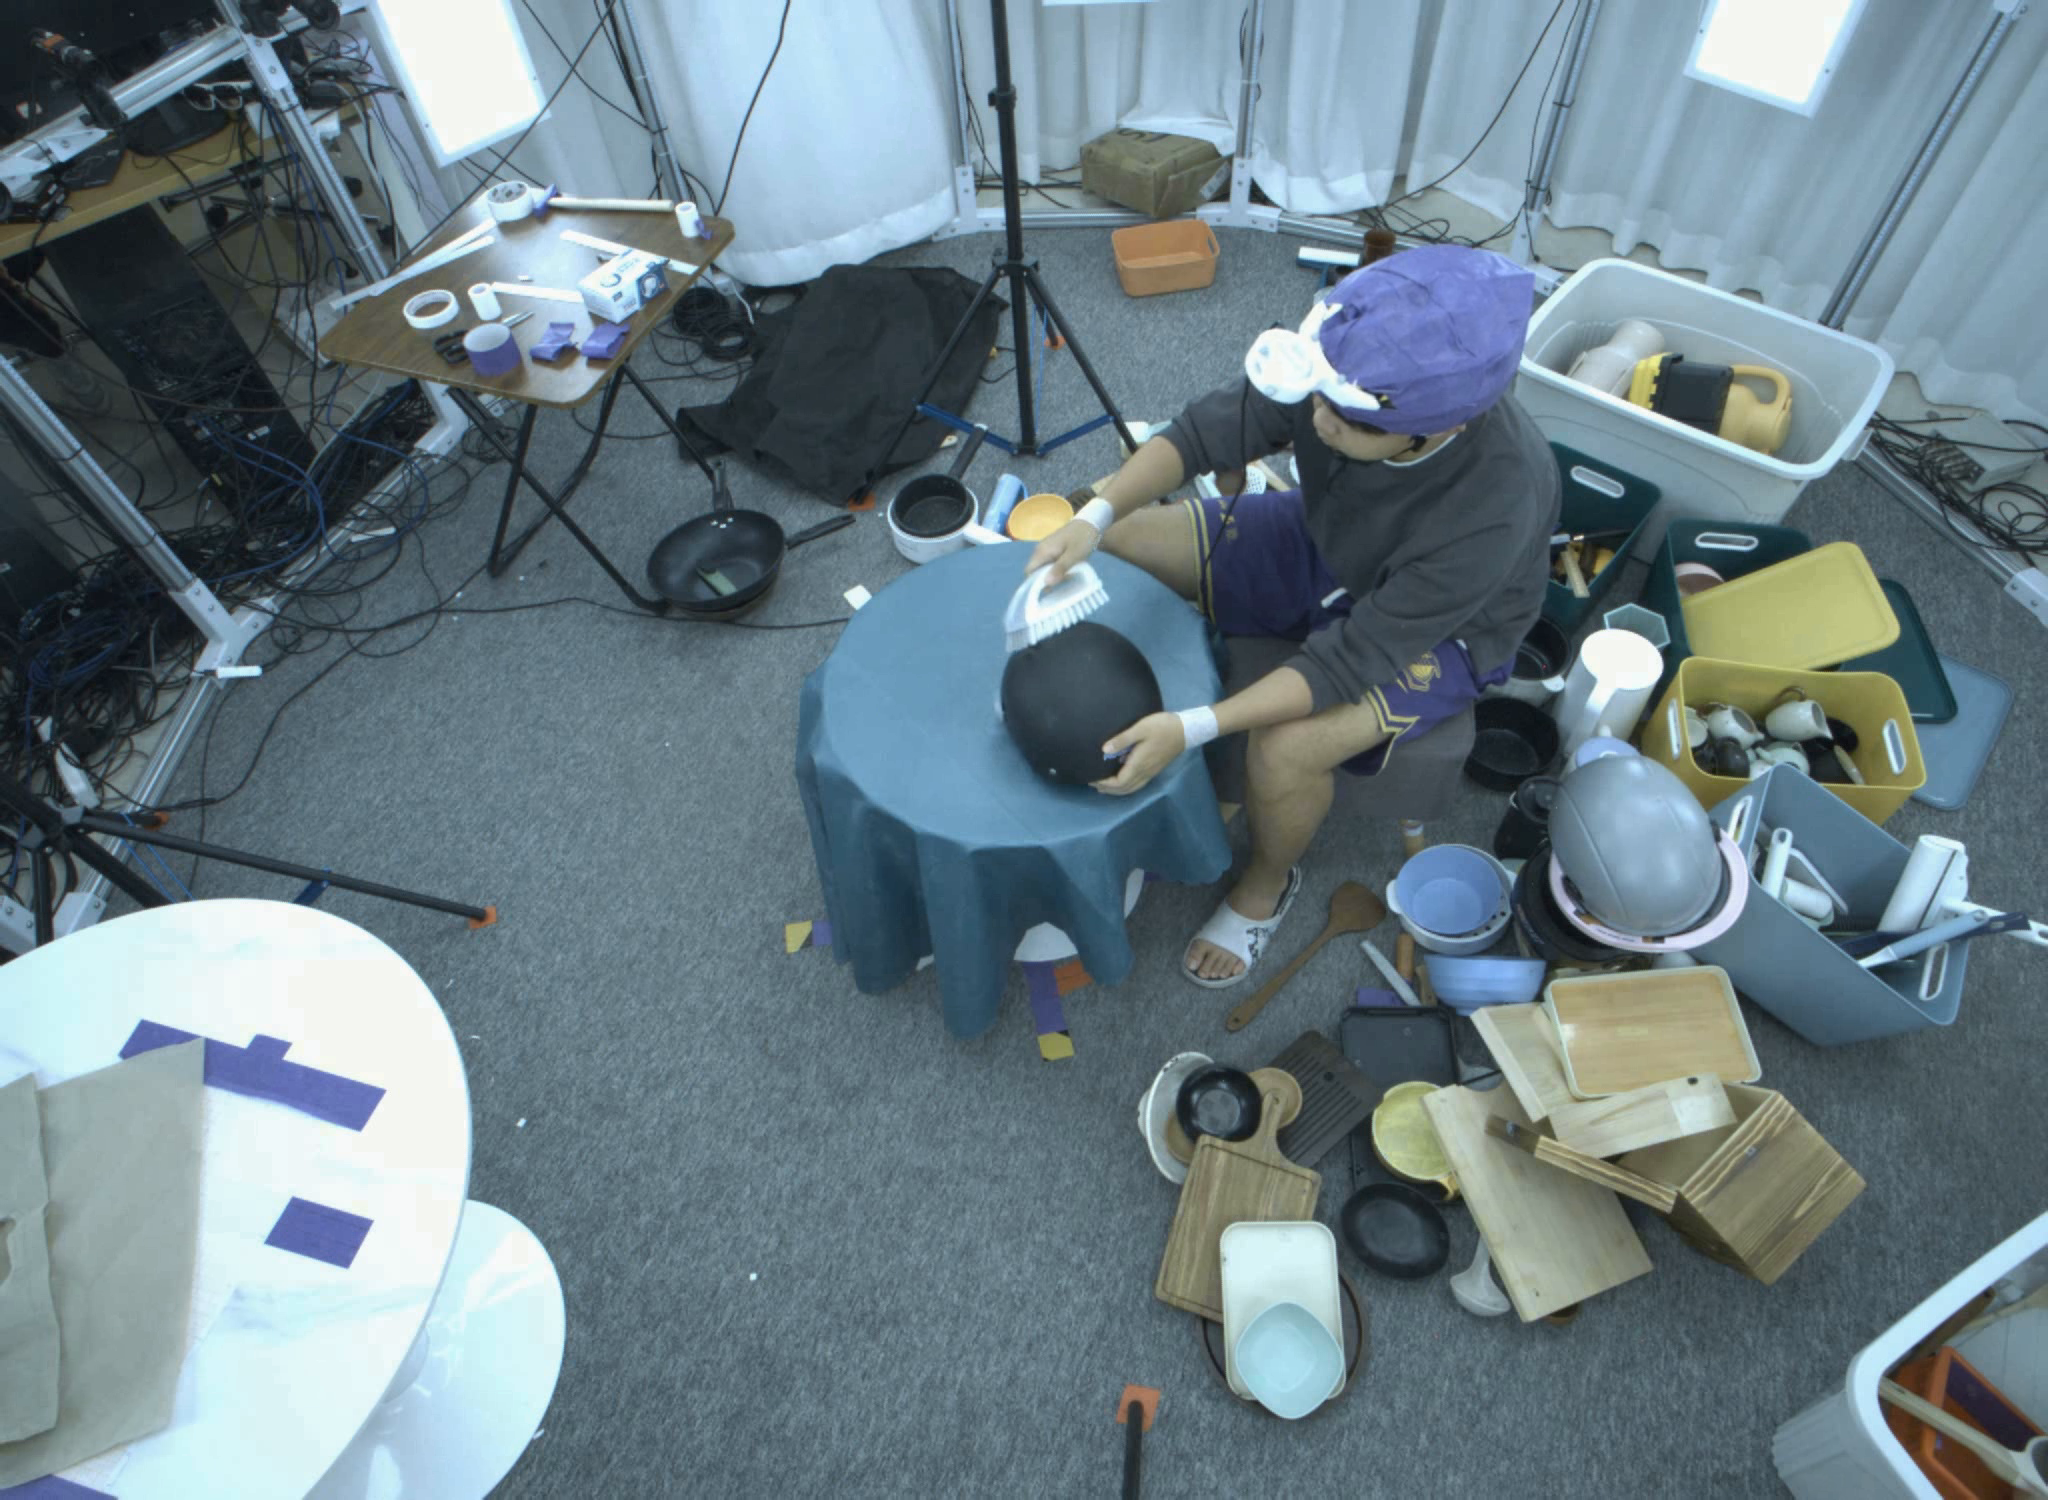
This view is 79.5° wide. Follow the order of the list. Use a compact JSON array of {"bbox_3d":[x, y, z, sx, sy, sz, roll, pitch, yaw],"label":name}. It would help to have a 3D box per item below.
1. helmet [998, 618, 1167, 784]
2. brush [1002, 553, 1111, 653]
[{"bbox_3d":[0.081,-0.091,1.751,0.232,0.168,0.268,-18,53,-13],"label":"helmet"},{"bbox_3d":[0.033,-0.213,1.721,0.177,0.095,0.060,-35,28,-23],"label":"brush"}]
